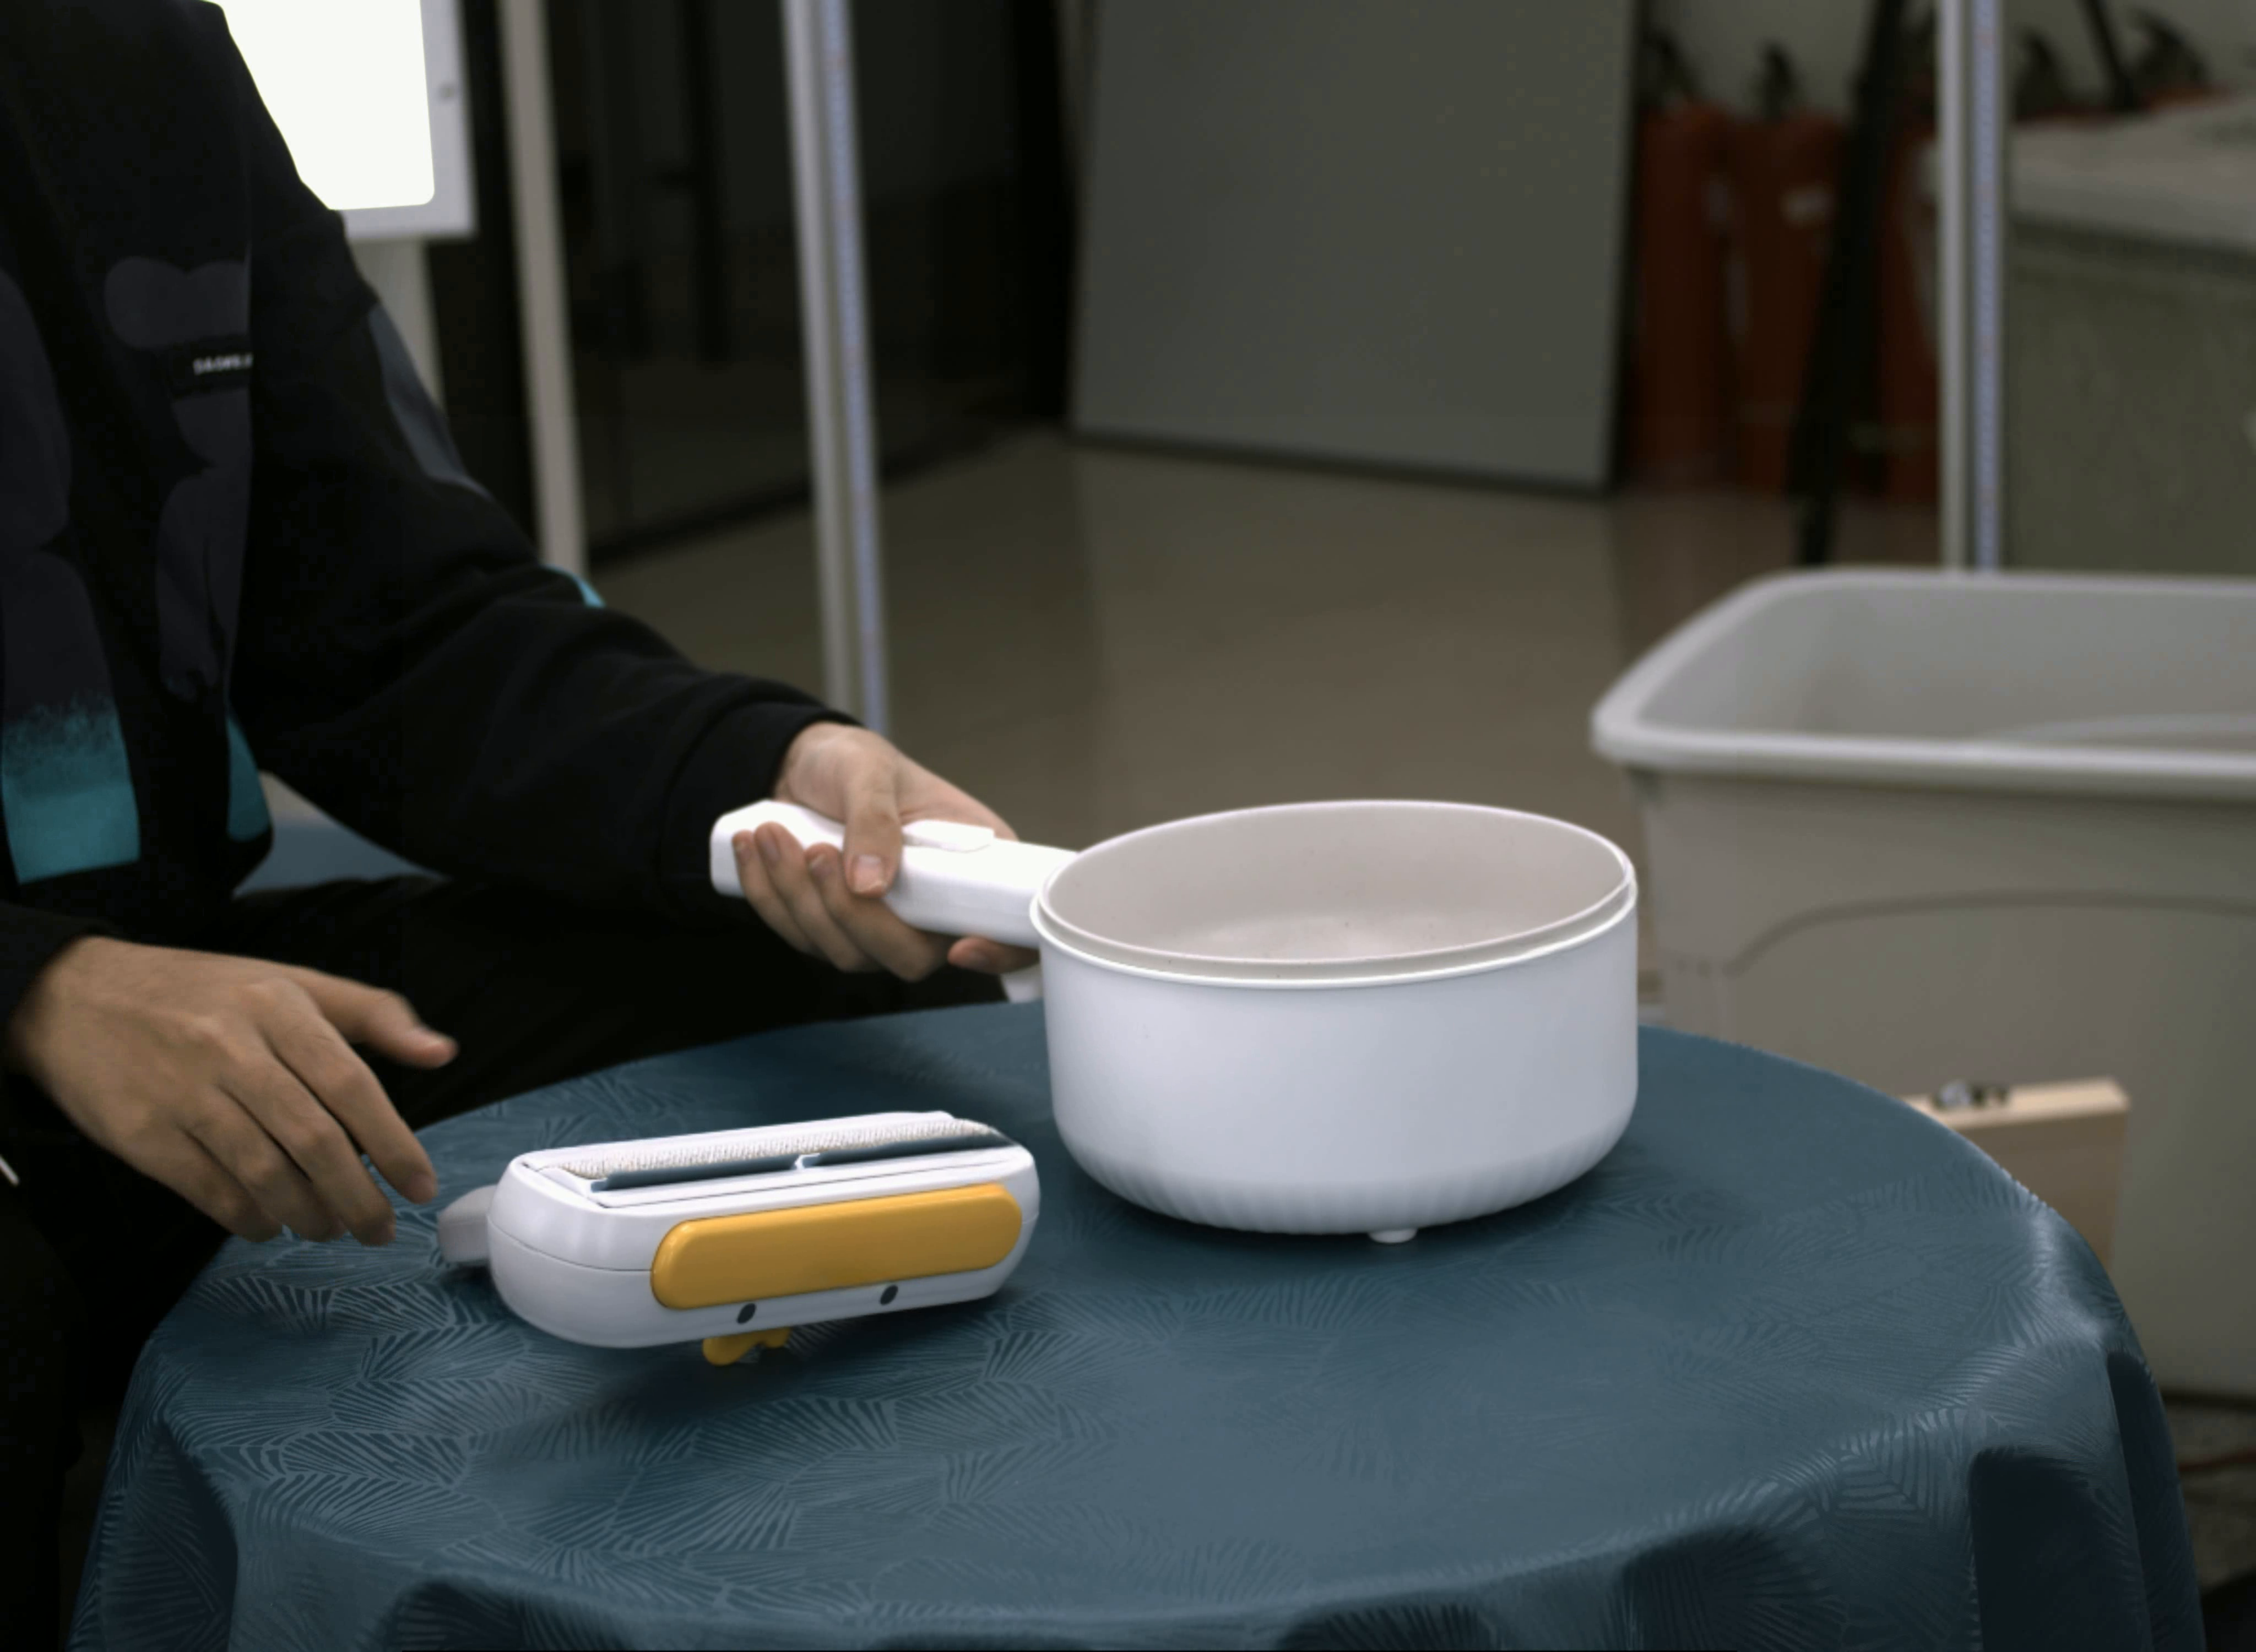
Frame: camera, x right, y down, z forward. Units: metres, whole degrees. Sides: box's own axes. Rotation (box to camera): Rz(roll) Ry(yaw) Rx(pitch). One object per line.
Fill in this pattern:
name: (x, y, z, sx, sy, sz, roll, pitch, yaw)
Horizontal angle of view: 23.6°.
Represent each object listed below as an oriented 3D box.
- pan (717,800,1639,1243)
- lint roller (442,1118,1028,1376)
pan: (0.008, 0.058, 1.810, 0.357, 0.103, 0.197, 6, 17, 37)
lint roller: (-0.150, 0.122, 1.672, 0.188, 0.075, 0.194, -8, 12, -39)
